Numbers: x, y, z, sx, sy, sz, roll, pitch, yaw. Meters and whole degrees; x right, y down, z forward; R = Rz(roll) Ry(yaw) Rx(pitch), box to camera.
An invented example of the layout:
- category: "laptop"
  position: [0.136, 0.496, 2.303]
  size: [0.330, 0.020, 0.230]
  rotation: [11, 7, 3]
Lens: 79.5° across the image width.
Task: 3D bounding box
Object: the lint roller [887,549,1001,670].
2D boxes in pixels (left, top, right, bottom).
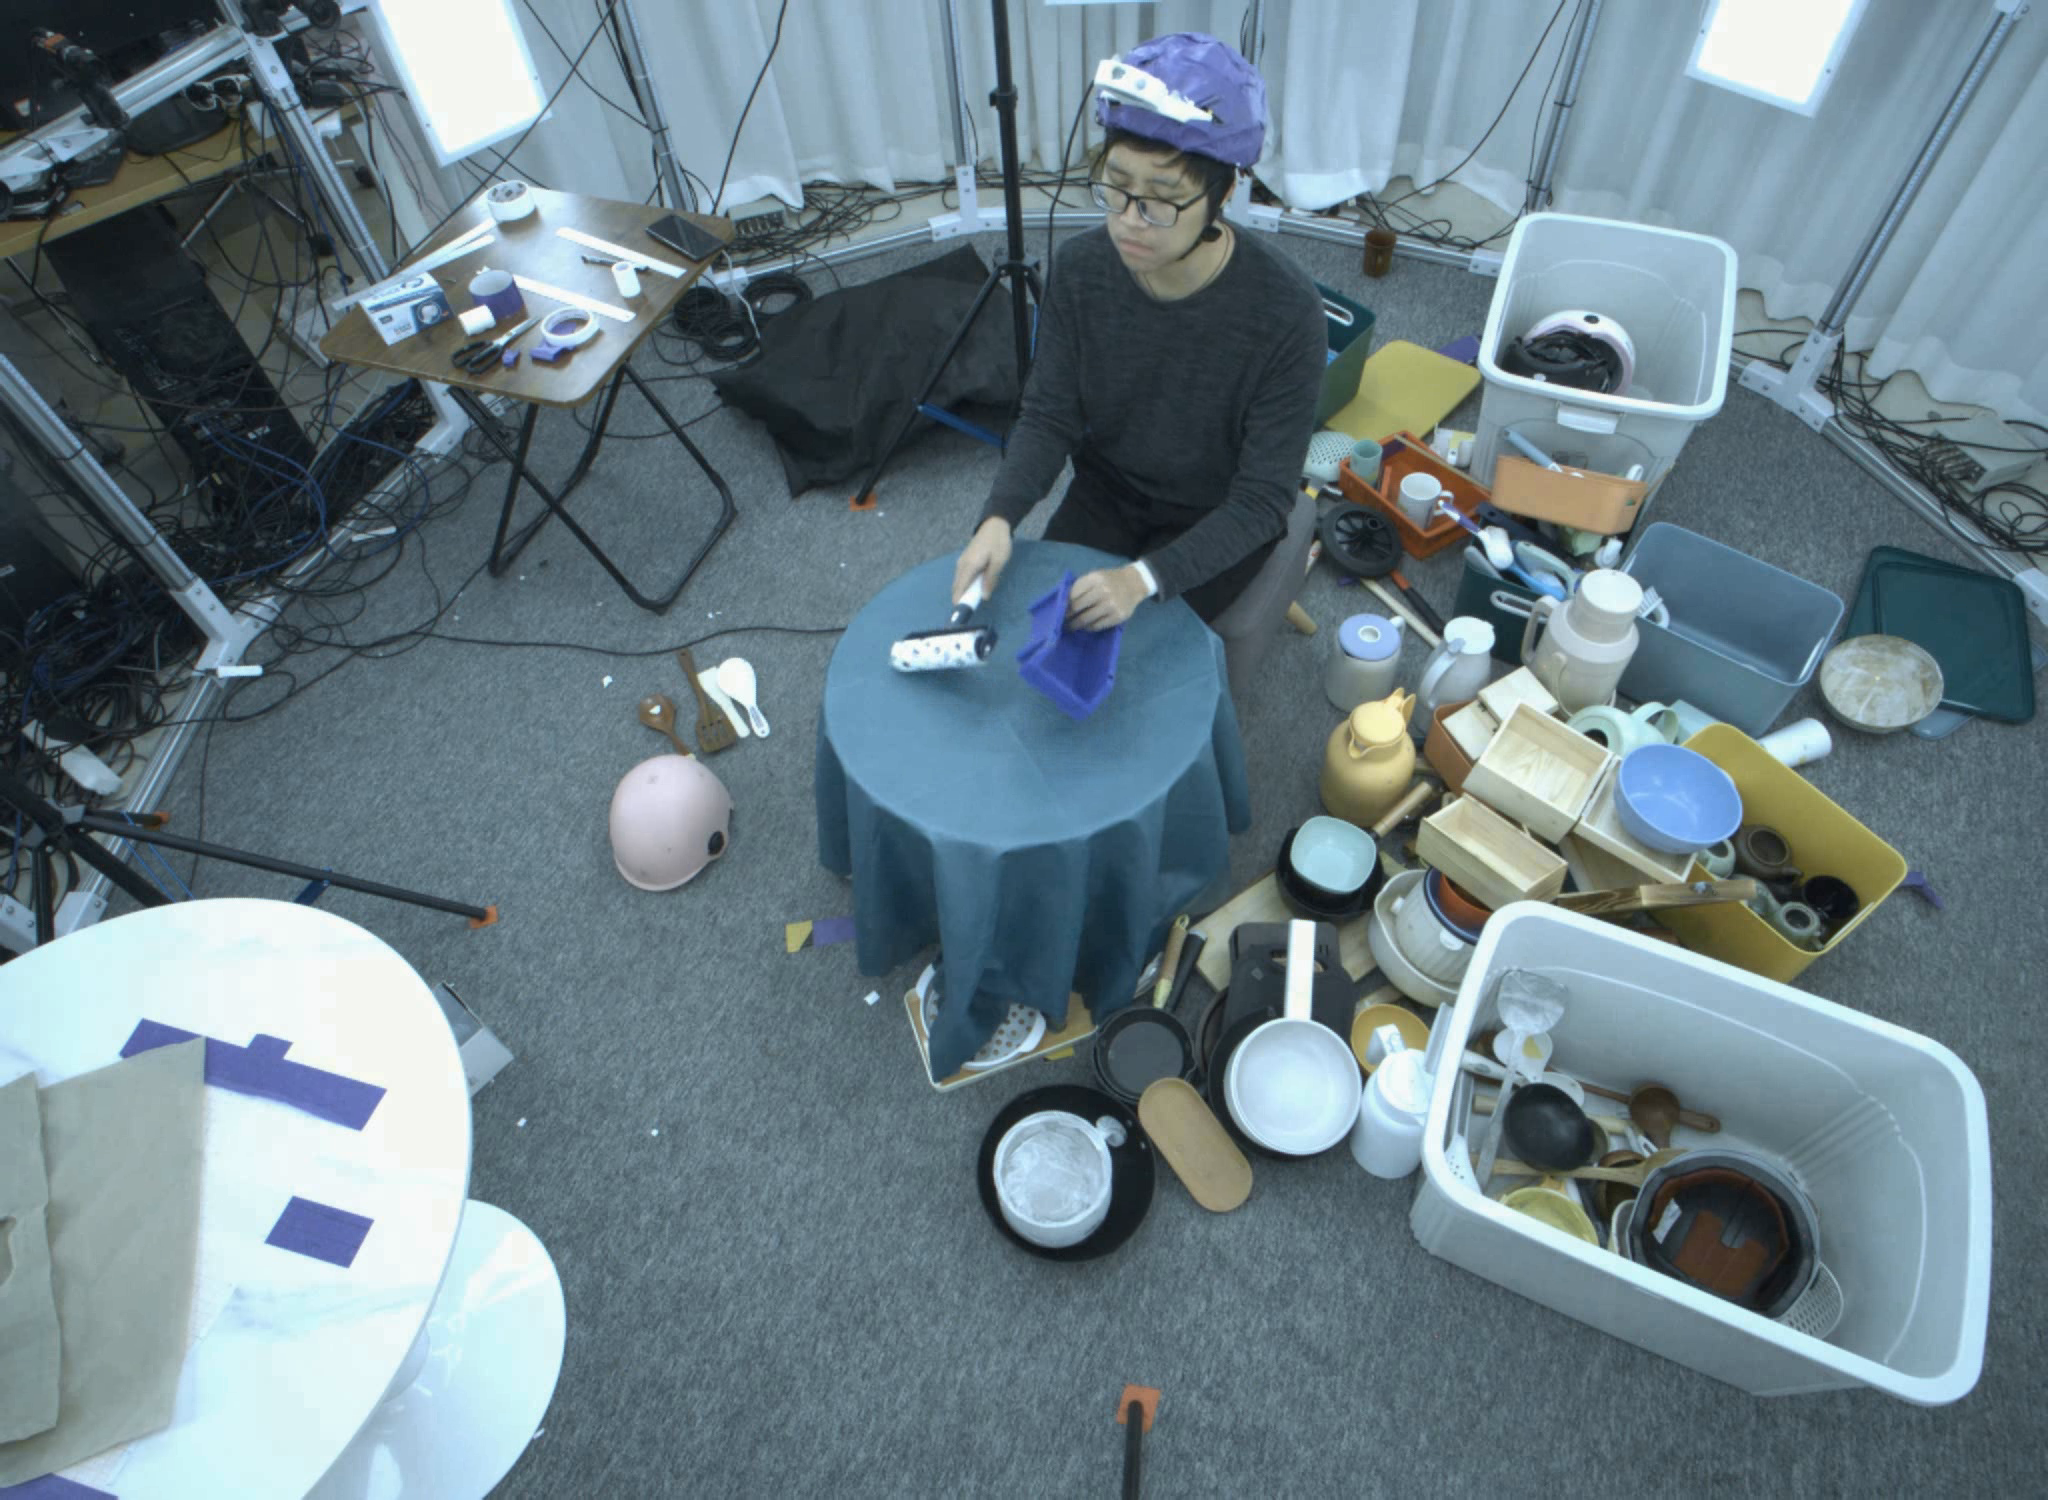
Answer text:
- category: "lint roller"
  position: [-0.095, -0.222, 1.879]
  size: [0.173, 0.051, 0.246]
  rotation: [2, 54, 33]

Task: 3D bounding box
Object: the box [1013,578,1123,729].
- category: "box"
  position: [0.063, -0.133, 1.745]
  size: [0.127, 0.081, 0.178]
  rotation: [37, 41, -24]
